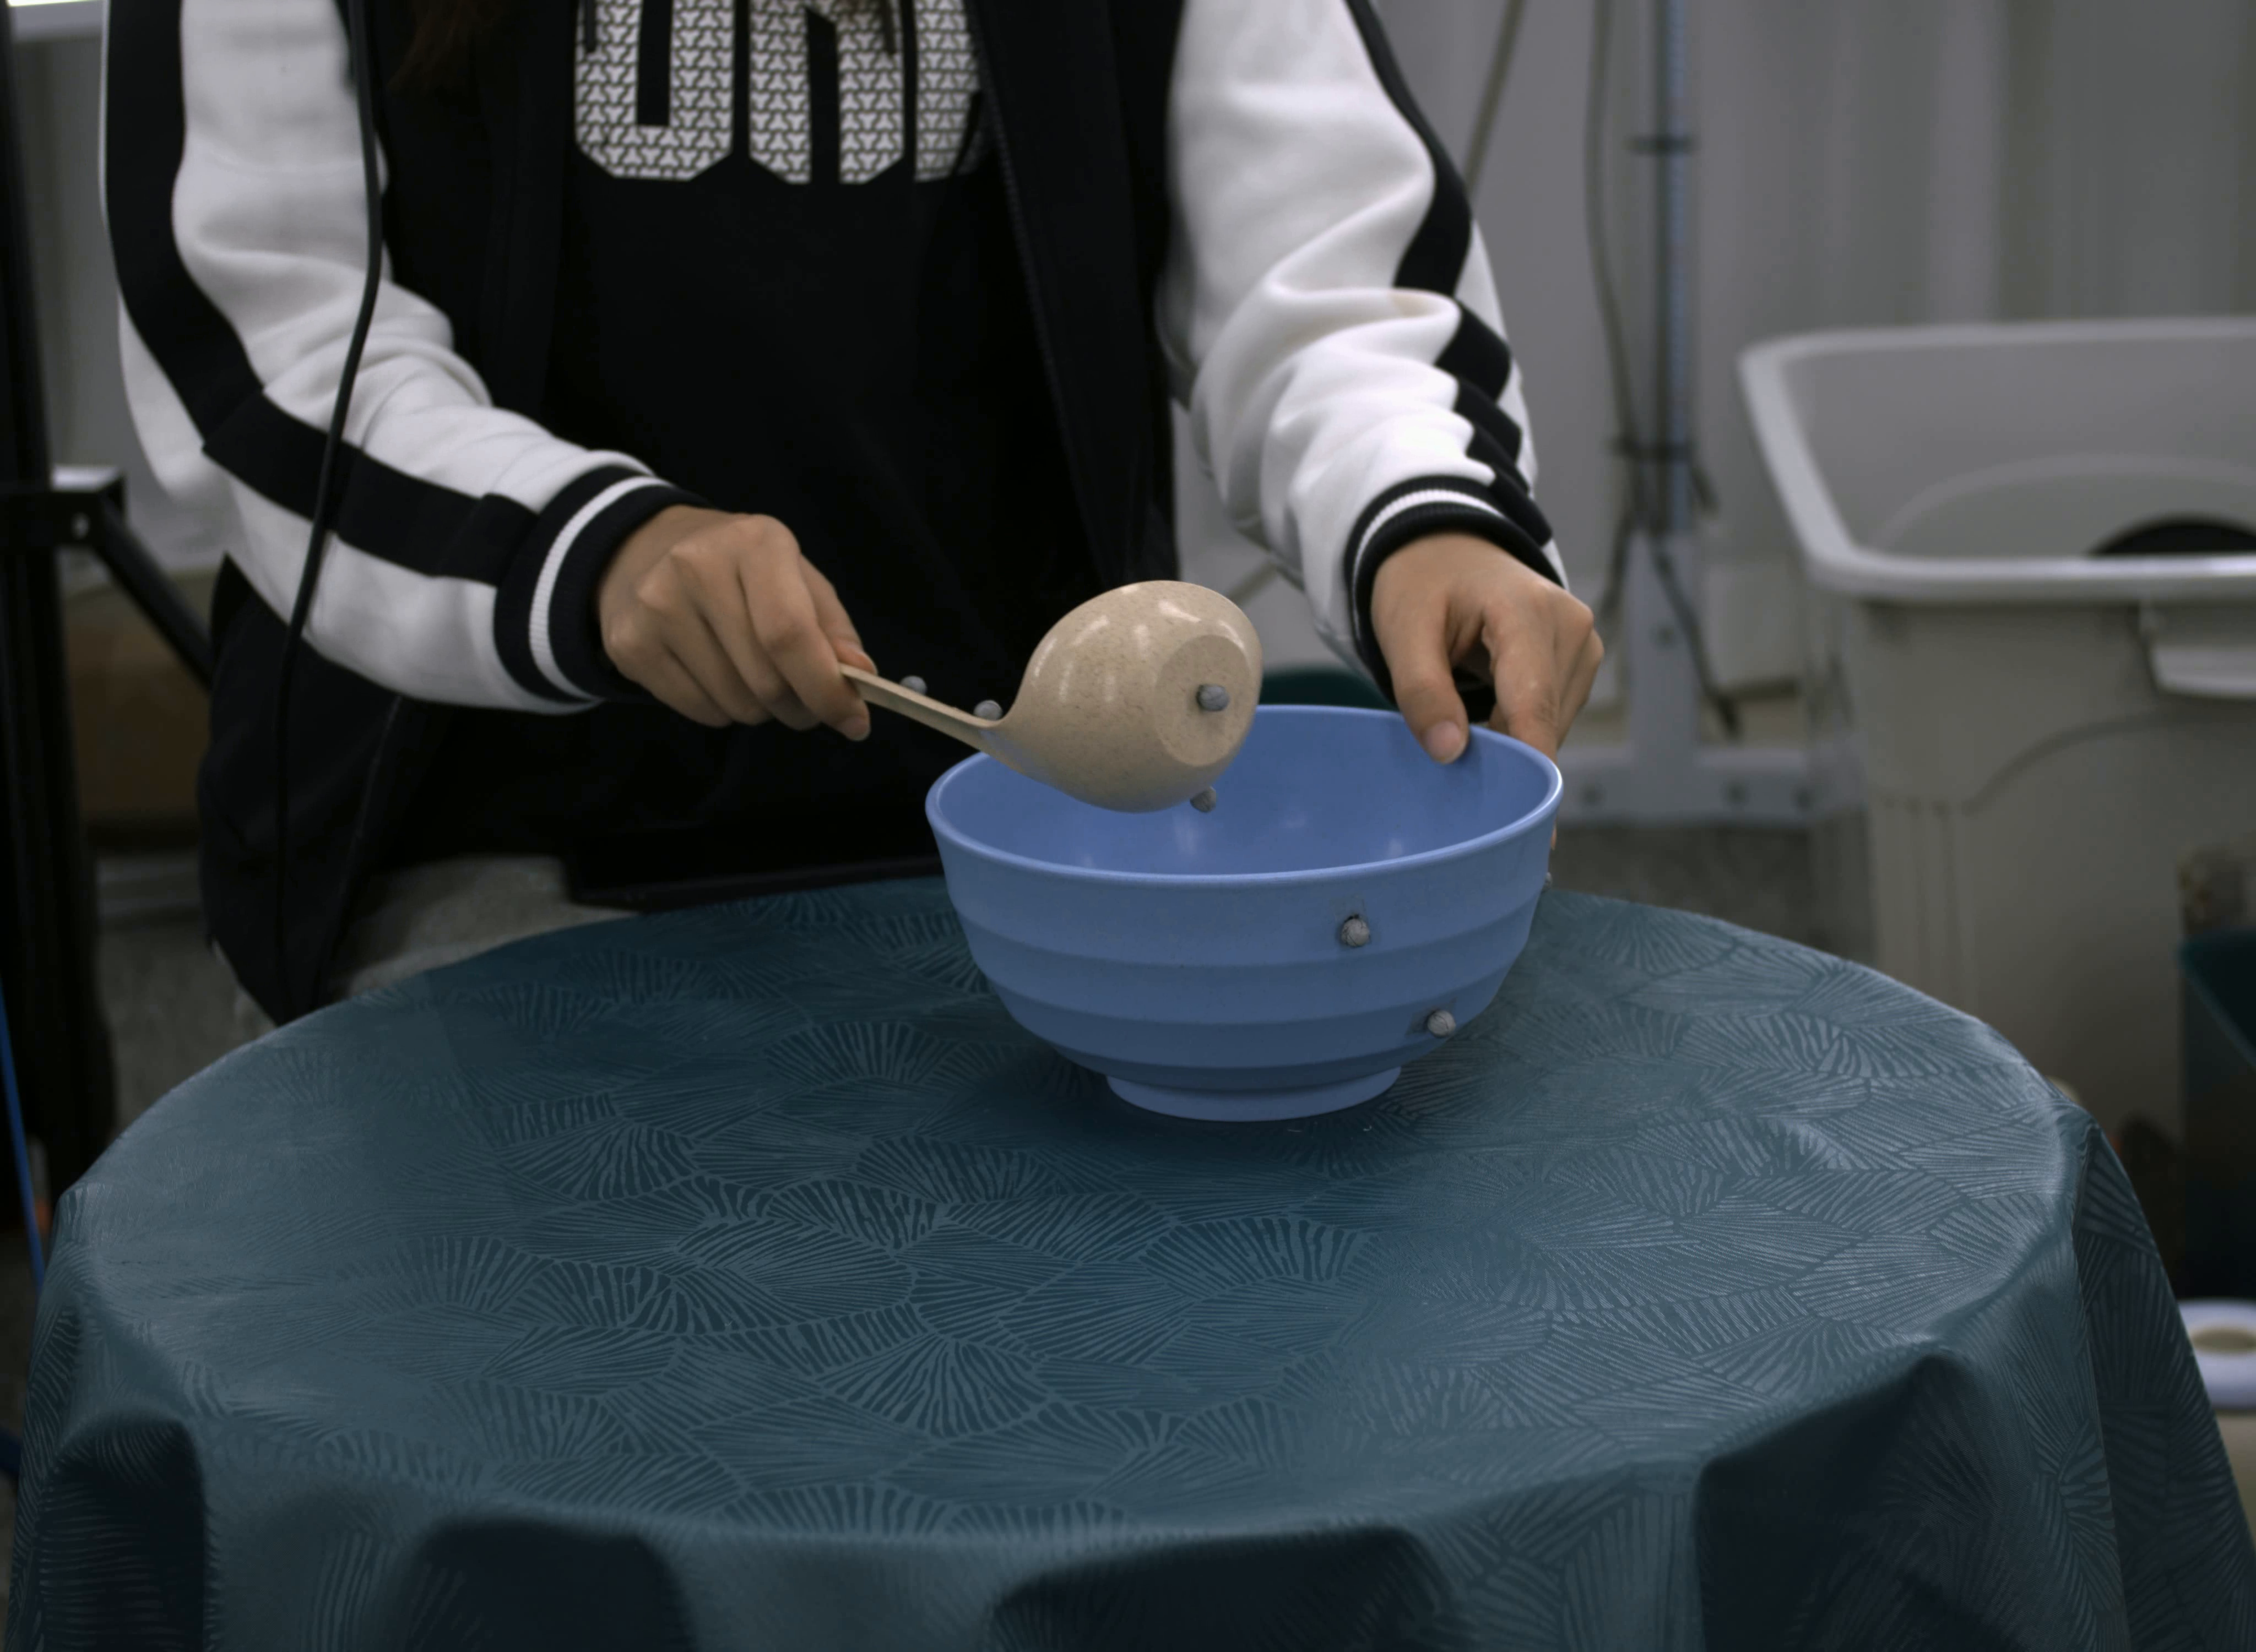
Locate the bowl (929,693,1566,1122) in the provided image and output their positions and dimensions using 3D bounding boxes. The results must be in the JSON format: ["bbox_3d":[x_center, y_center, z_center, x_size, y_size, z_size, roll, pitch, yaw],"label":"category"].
[{"bbox_3d":[0.037,0.032,1.645,0.195,0.095,0.197,-2,18,-1],"label":"bowl"}]

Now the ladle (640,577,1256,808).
[{"bbox_3d":[-0.058,-0.062,1.665,0.260,0.070,0.072,19,68,49],"label":"ladle"}]
